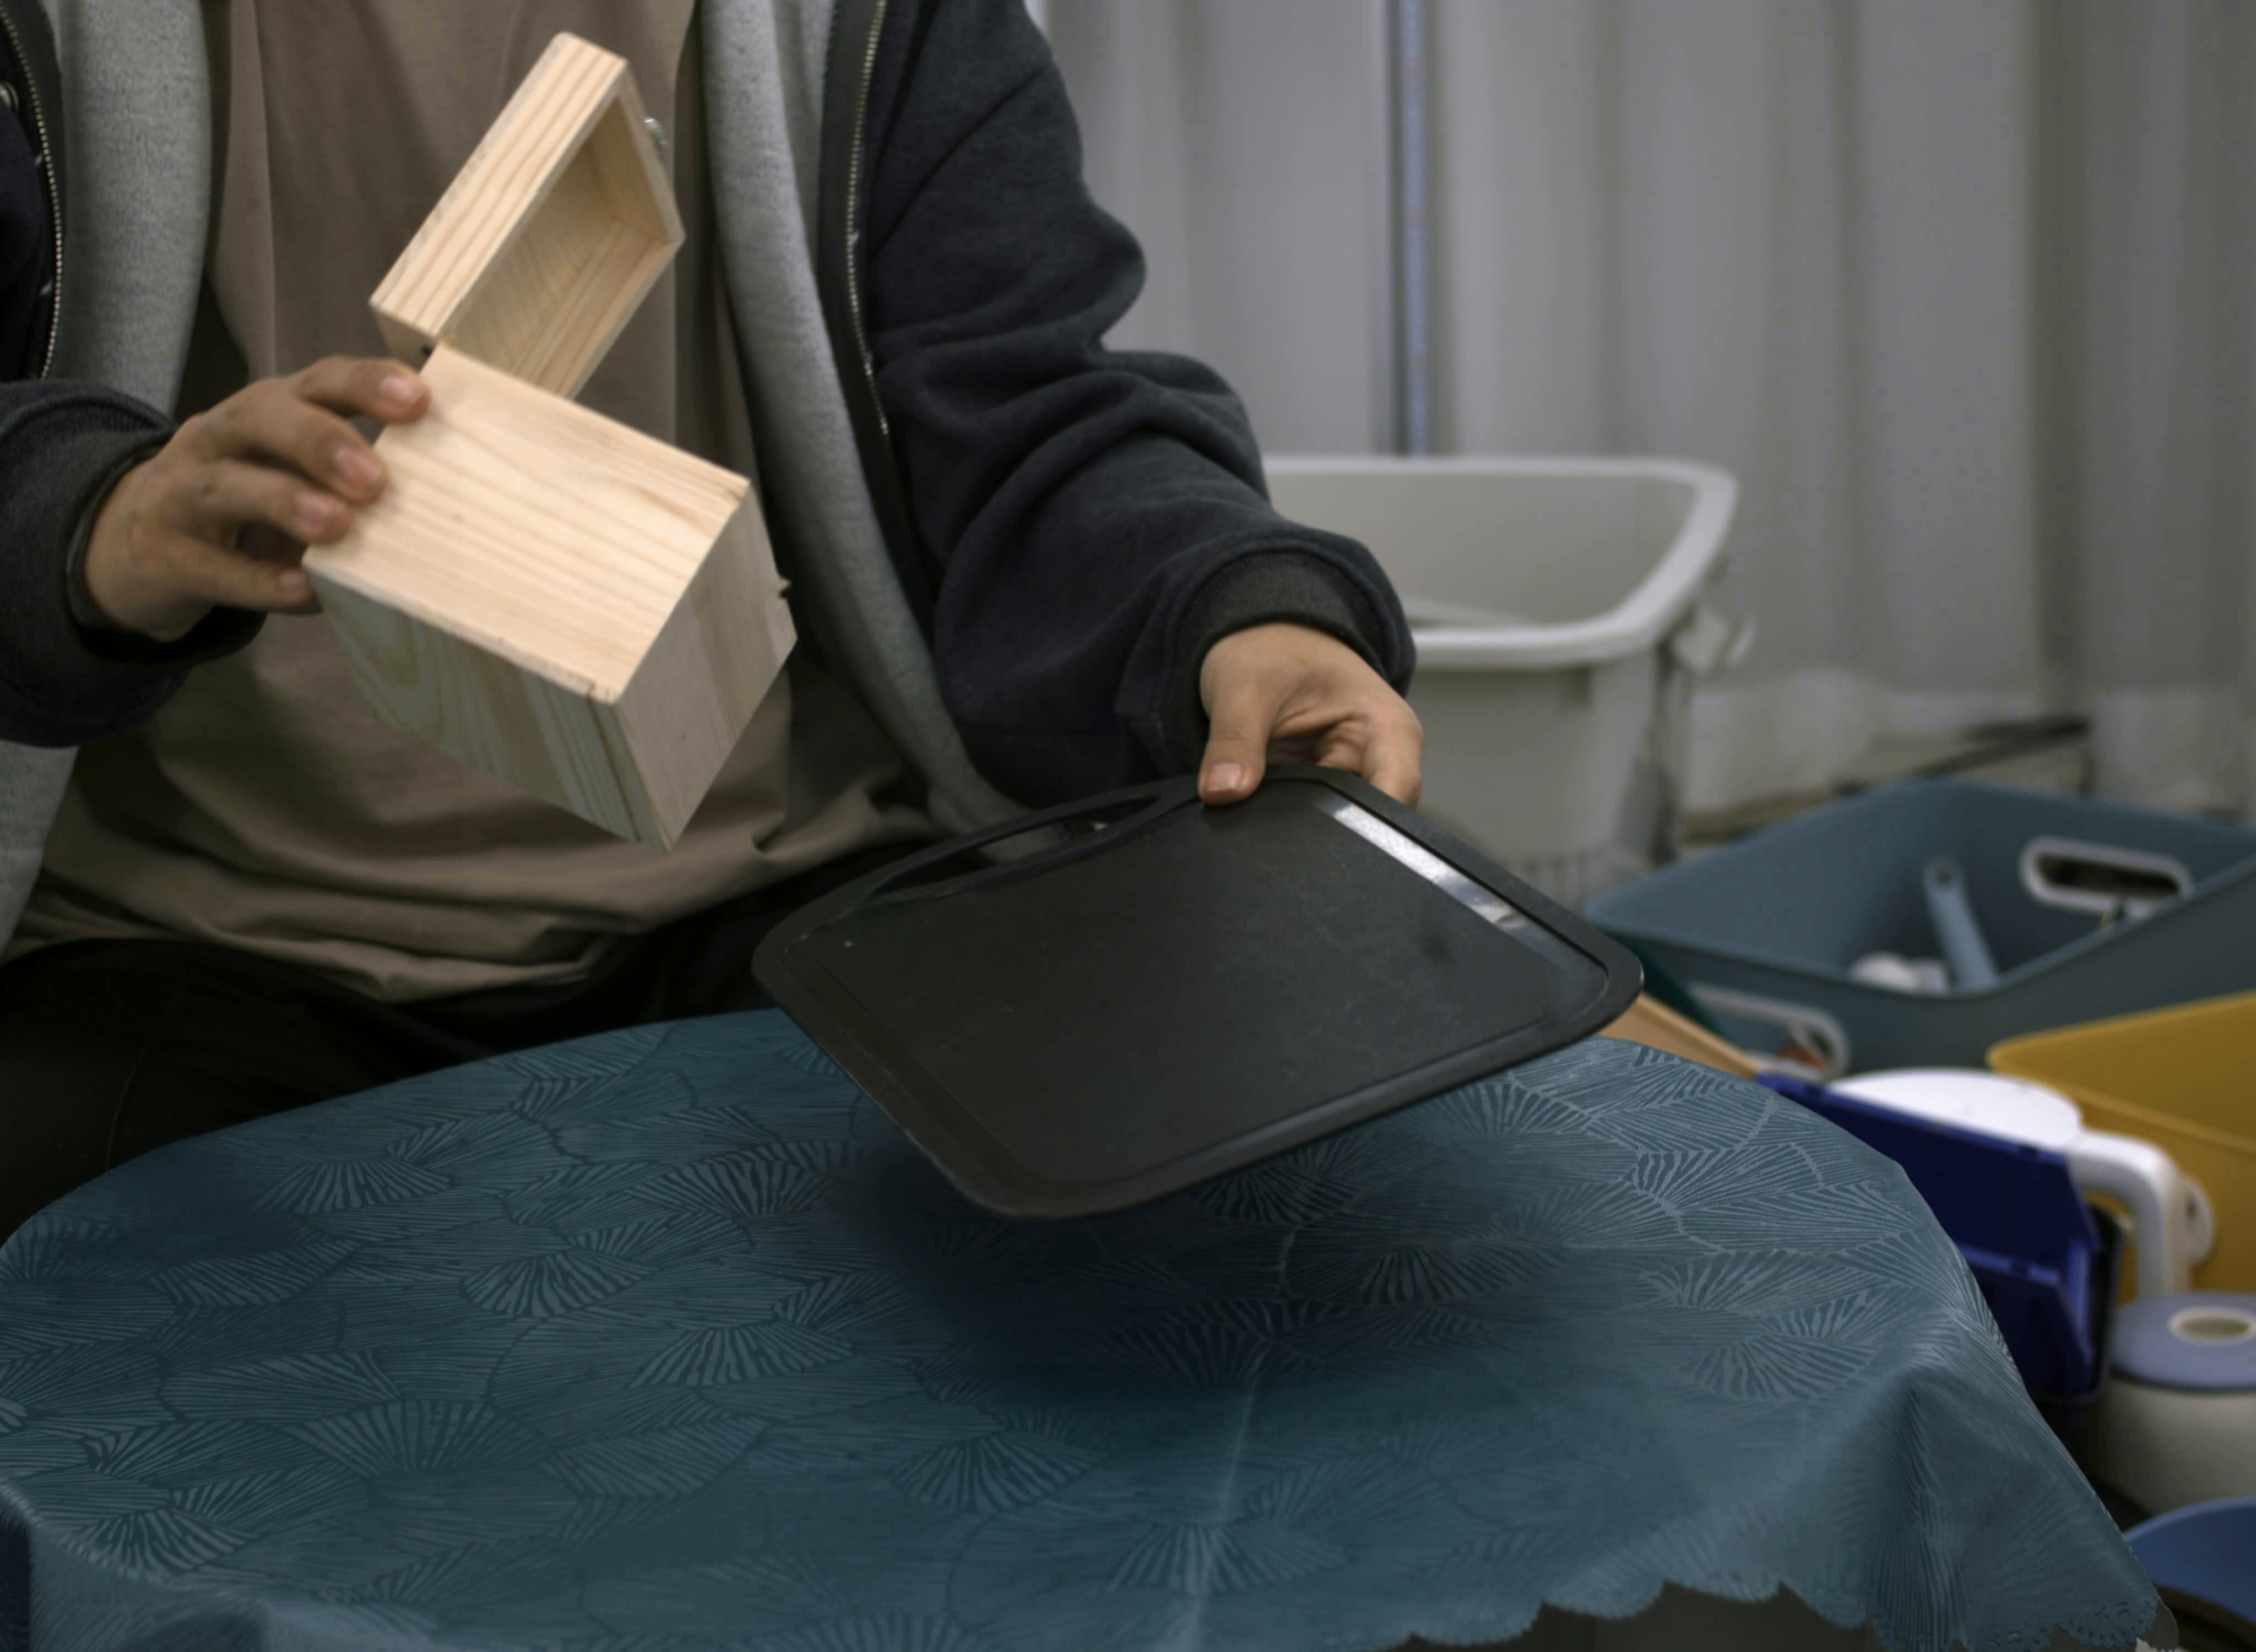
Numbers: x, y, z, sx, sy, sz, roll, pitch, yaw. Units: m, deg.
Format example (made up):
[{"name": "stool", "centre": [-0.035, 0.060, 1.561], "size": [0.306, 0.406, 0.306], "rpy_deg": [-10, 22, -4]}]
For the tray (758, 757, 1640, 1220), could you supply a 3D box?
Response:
[{"name": "tray", "centre": [0.010, 0.041, 1.672], "size": [0.210, 0.010, 0.328], "rpy_deg": [-19, 21, -14]}]

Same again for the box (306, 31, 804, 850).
[{"name": "box", "centre": [-0.146, -0.111, 1.569], "size": [0.134, 0.186, 0.101], "rpy_deg": [22, -19, 15]}]
